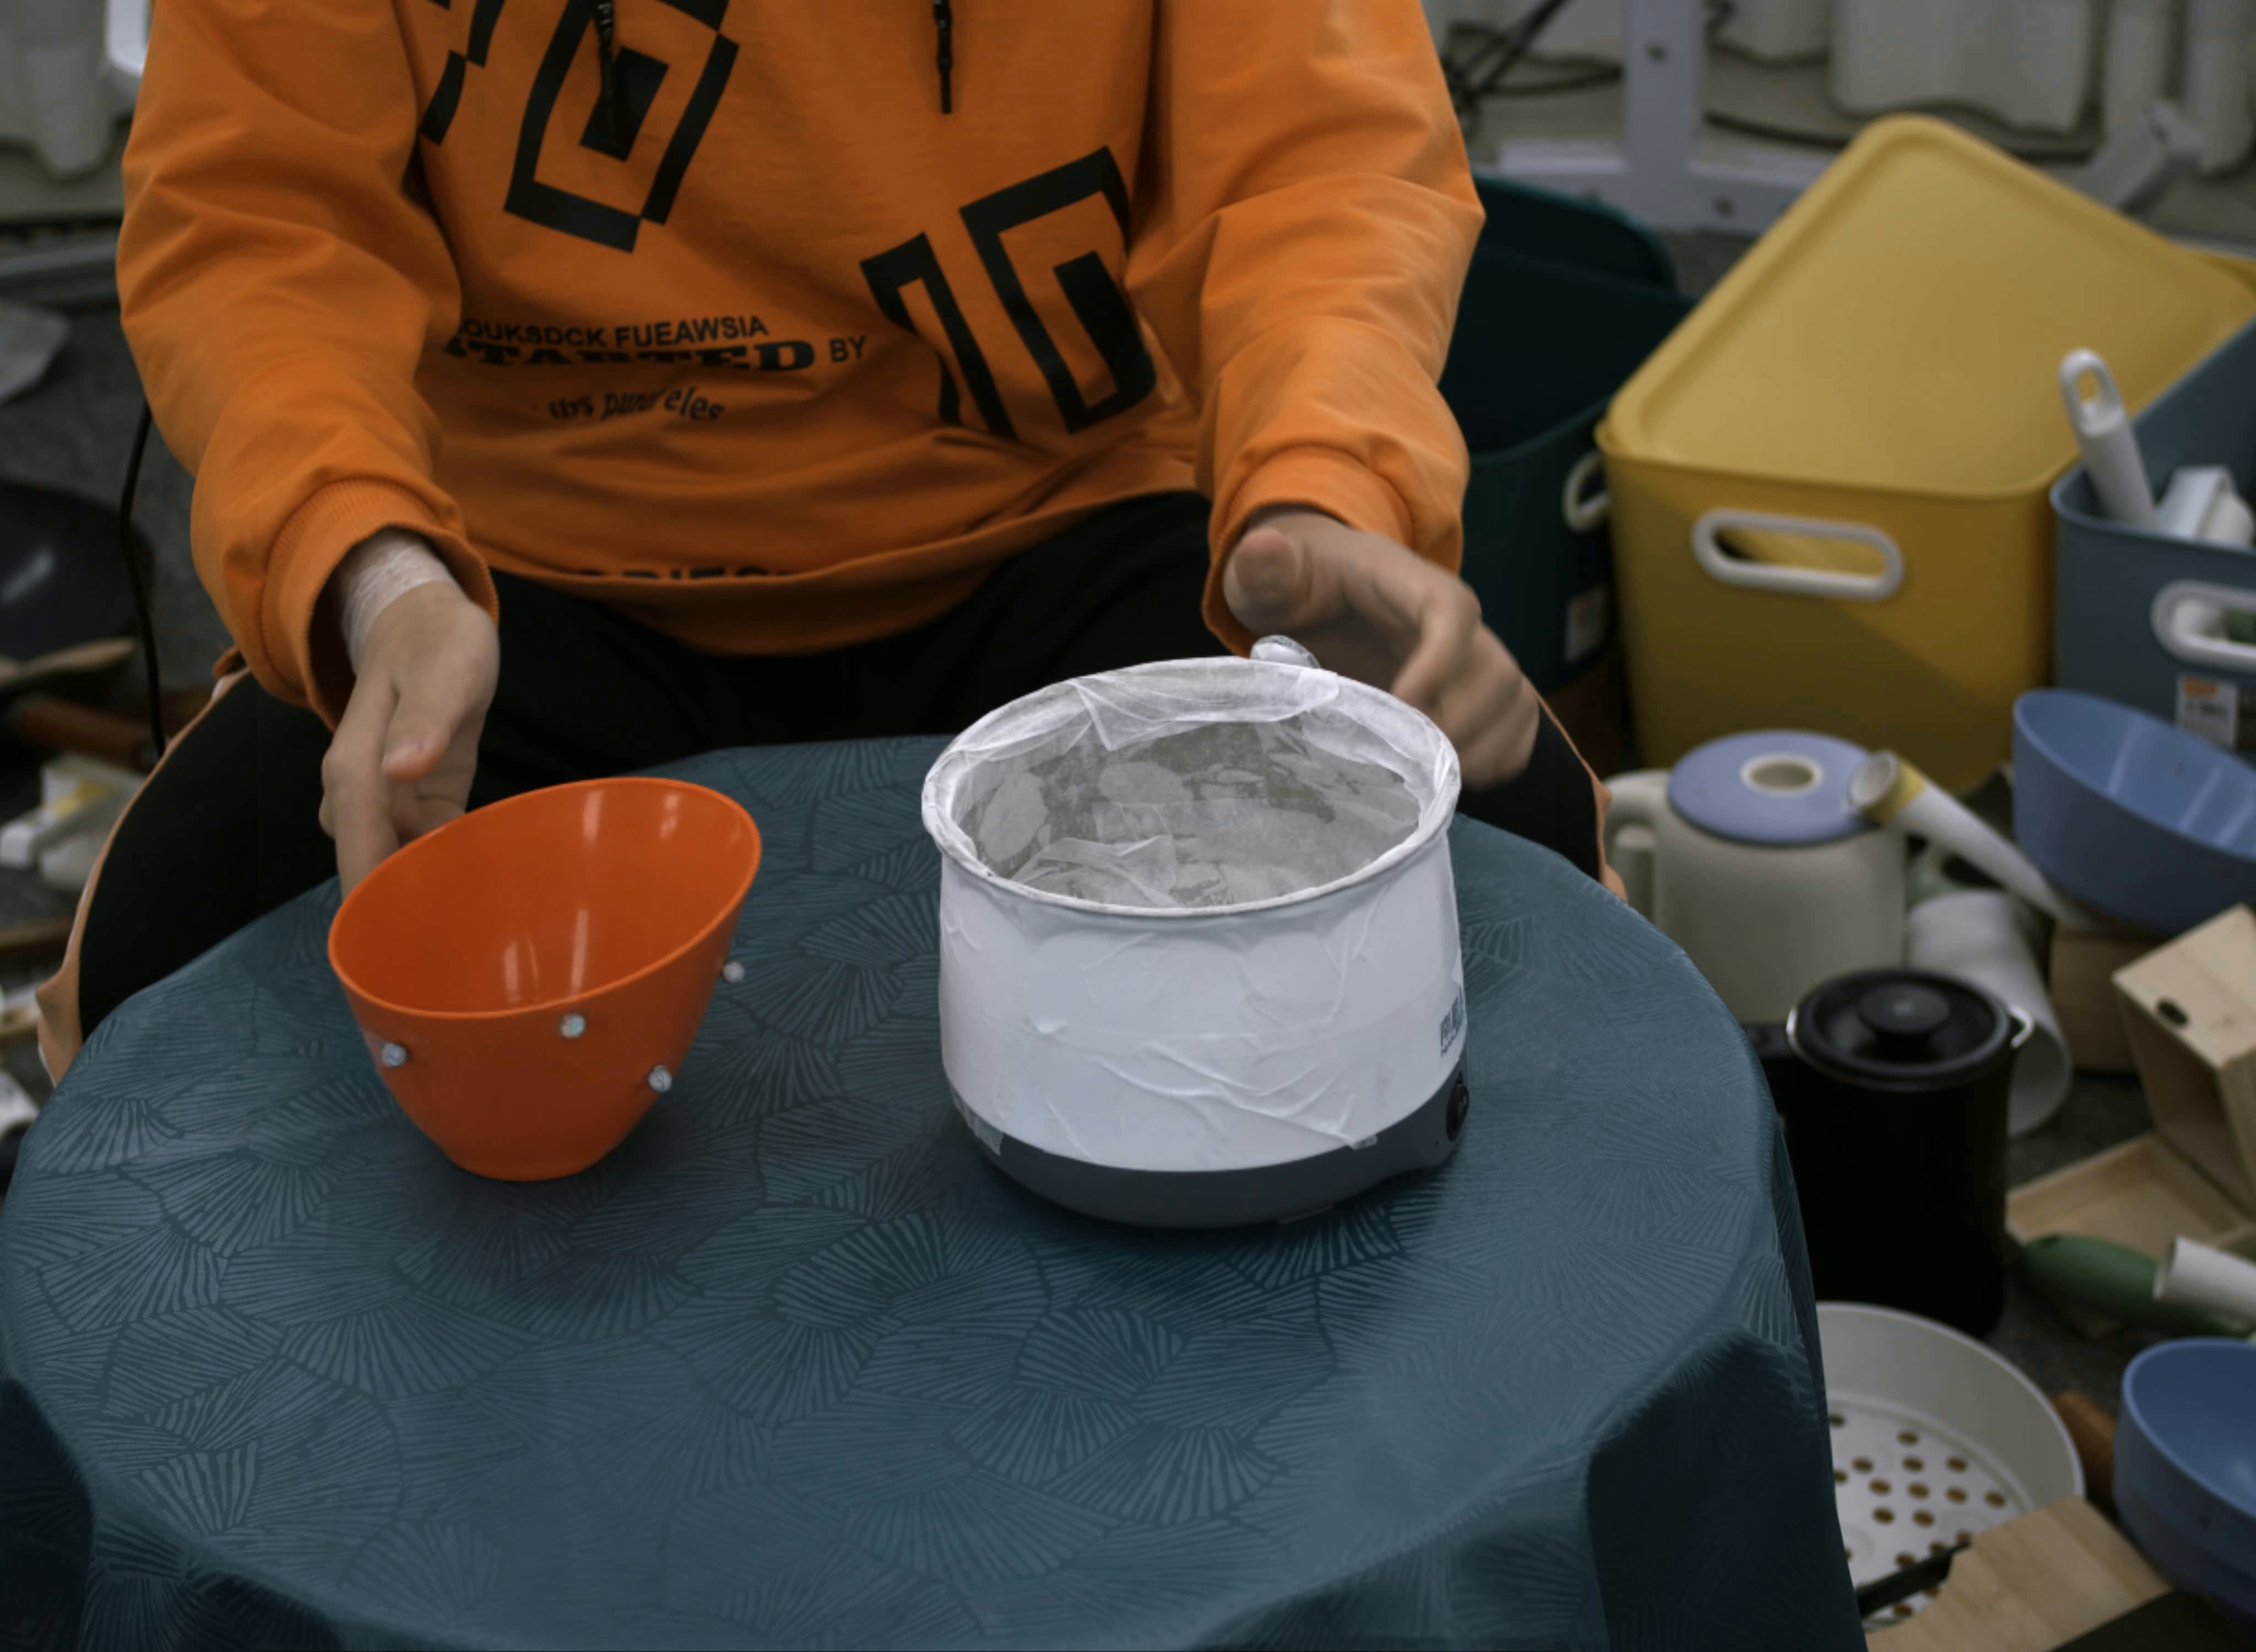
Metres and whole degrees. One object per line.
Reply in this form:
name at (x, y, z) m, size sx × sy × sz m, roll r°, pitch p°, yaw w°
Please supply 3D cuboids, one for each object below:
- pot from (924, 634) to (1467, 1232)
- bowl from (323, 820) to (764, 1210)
pot at (0.032, 0.028, 1.892) m, size 0.177 × 0.135 × 0.238 m, roll 5°, pitch 29°, yaw 15°
bowl at (-0.197, 0.069, 1.895) m, size 0.147 × 0.103 × 0.150 m, roll 2°, pitch 23°, yaw 0°
